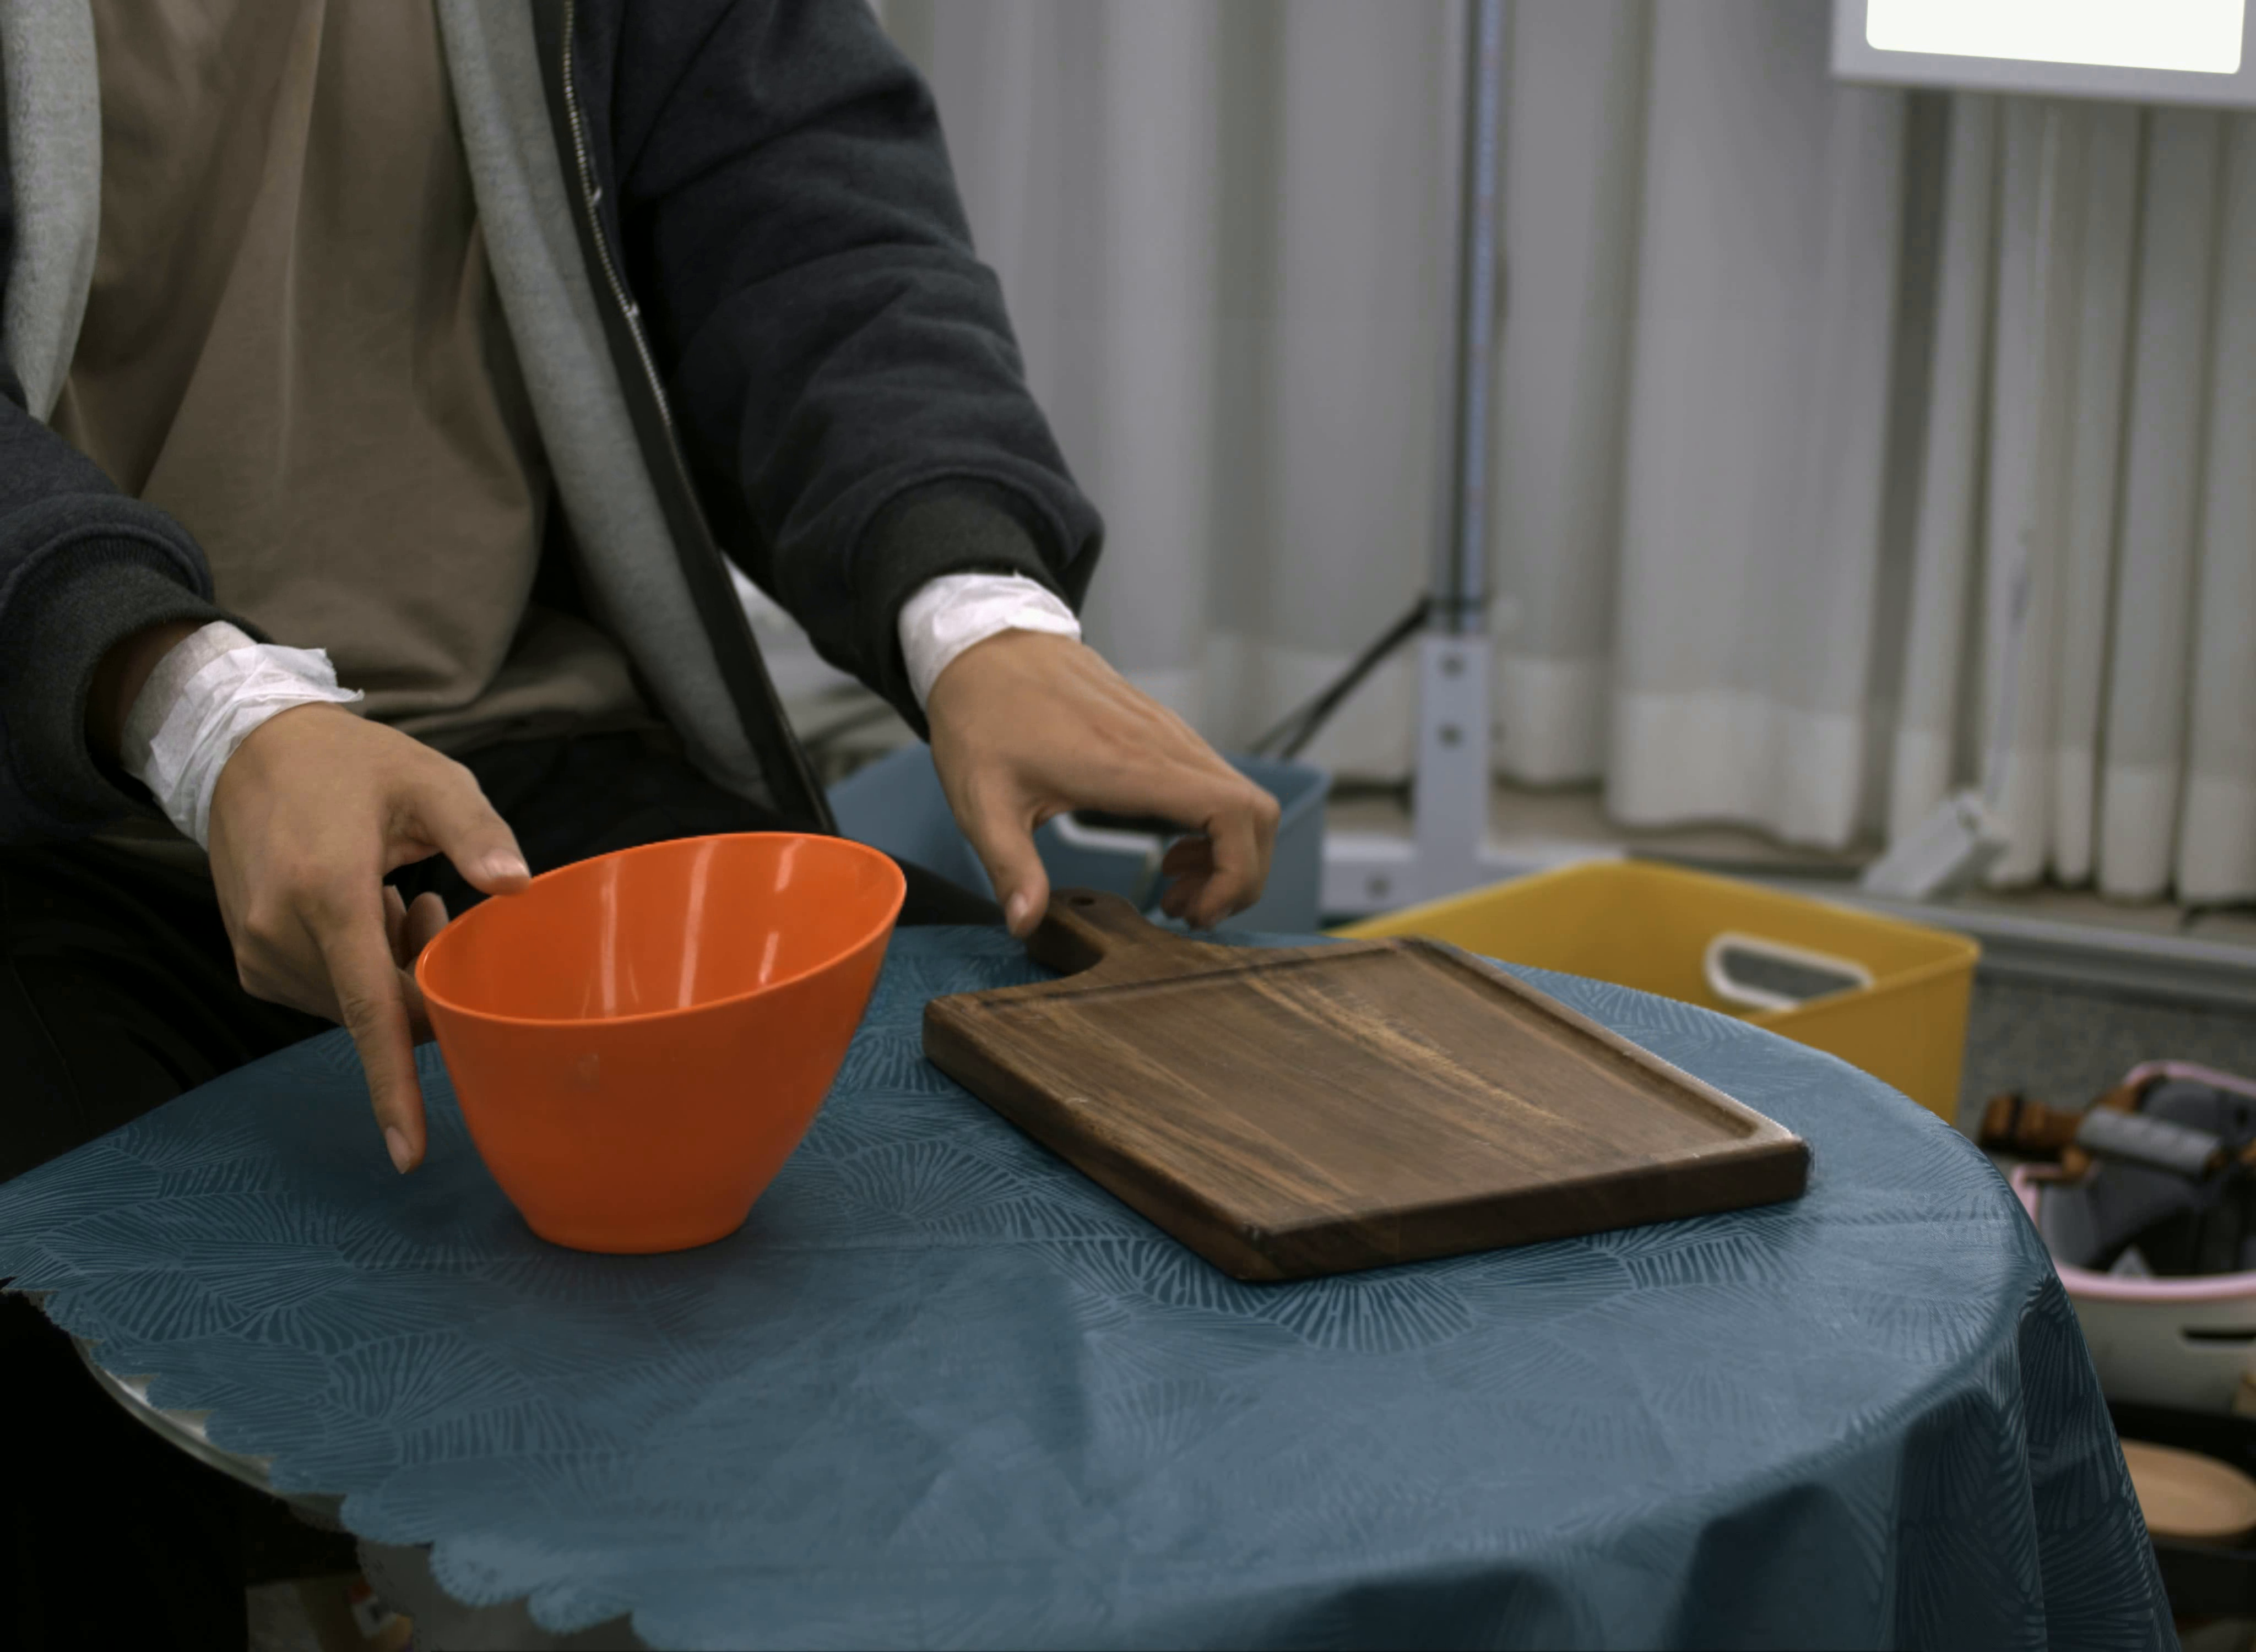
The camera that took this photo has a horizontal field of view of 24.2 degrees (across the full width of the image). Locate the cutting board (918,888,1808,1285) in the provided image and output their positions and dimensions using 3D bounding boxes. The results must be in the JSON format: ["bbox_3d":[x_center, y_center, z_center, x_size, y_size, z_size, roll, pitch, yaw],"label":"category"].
[{"bbox_3d":[0.049,0.074,1.726,0.202,0.023,0.348,-7,17,-25],"label":"cutting board"}]

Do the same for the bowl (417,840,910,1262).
[{"bbox_3d":[-0.138,0.070,1.583,0.147,0.105,0.147,0,16,0],"label":"bowl"}]
